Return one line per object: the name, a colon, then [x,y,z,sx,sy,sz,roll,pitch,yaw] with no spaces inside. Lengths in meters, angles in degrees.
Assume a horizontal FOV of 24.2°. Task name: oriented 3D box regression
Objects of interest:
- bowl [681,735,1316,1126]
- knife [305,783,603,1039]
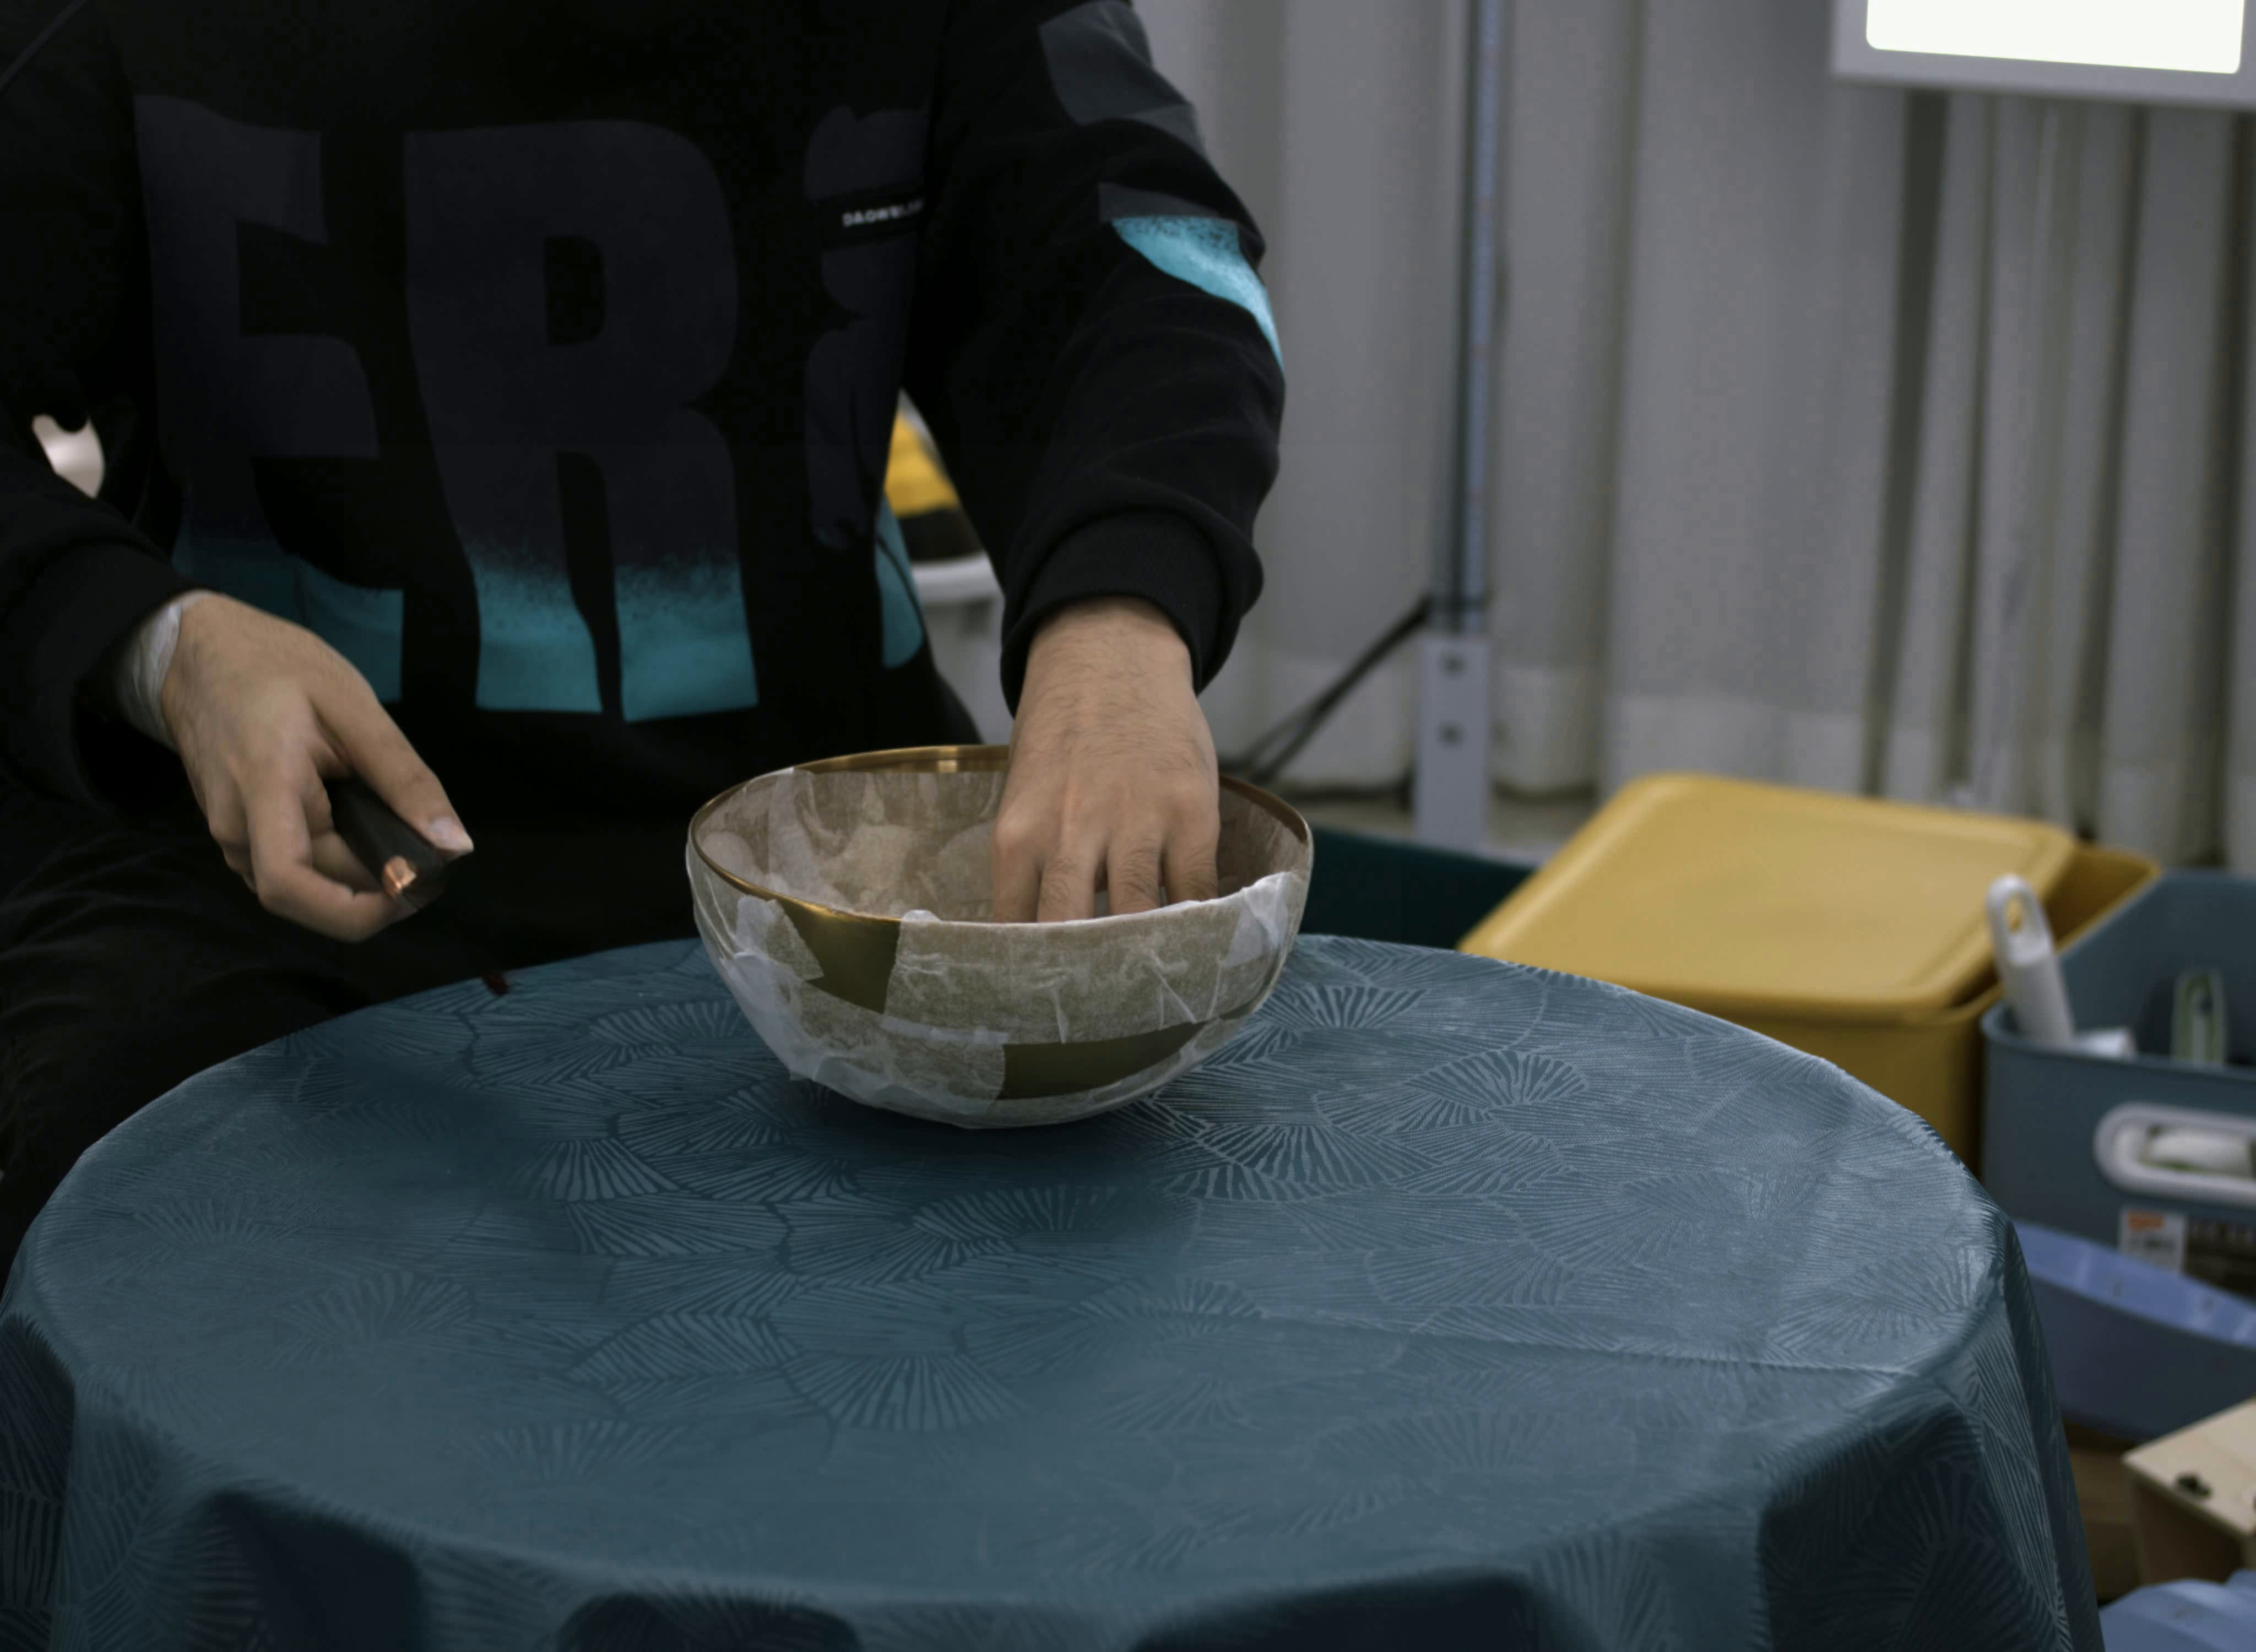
bowl: [-0.041,0.041,1.698,0.214,0.095,0.213,0,17,0]
knife: [-0.209,0.025,1.607,0.026,0.017,0.222,14,11,-31]
